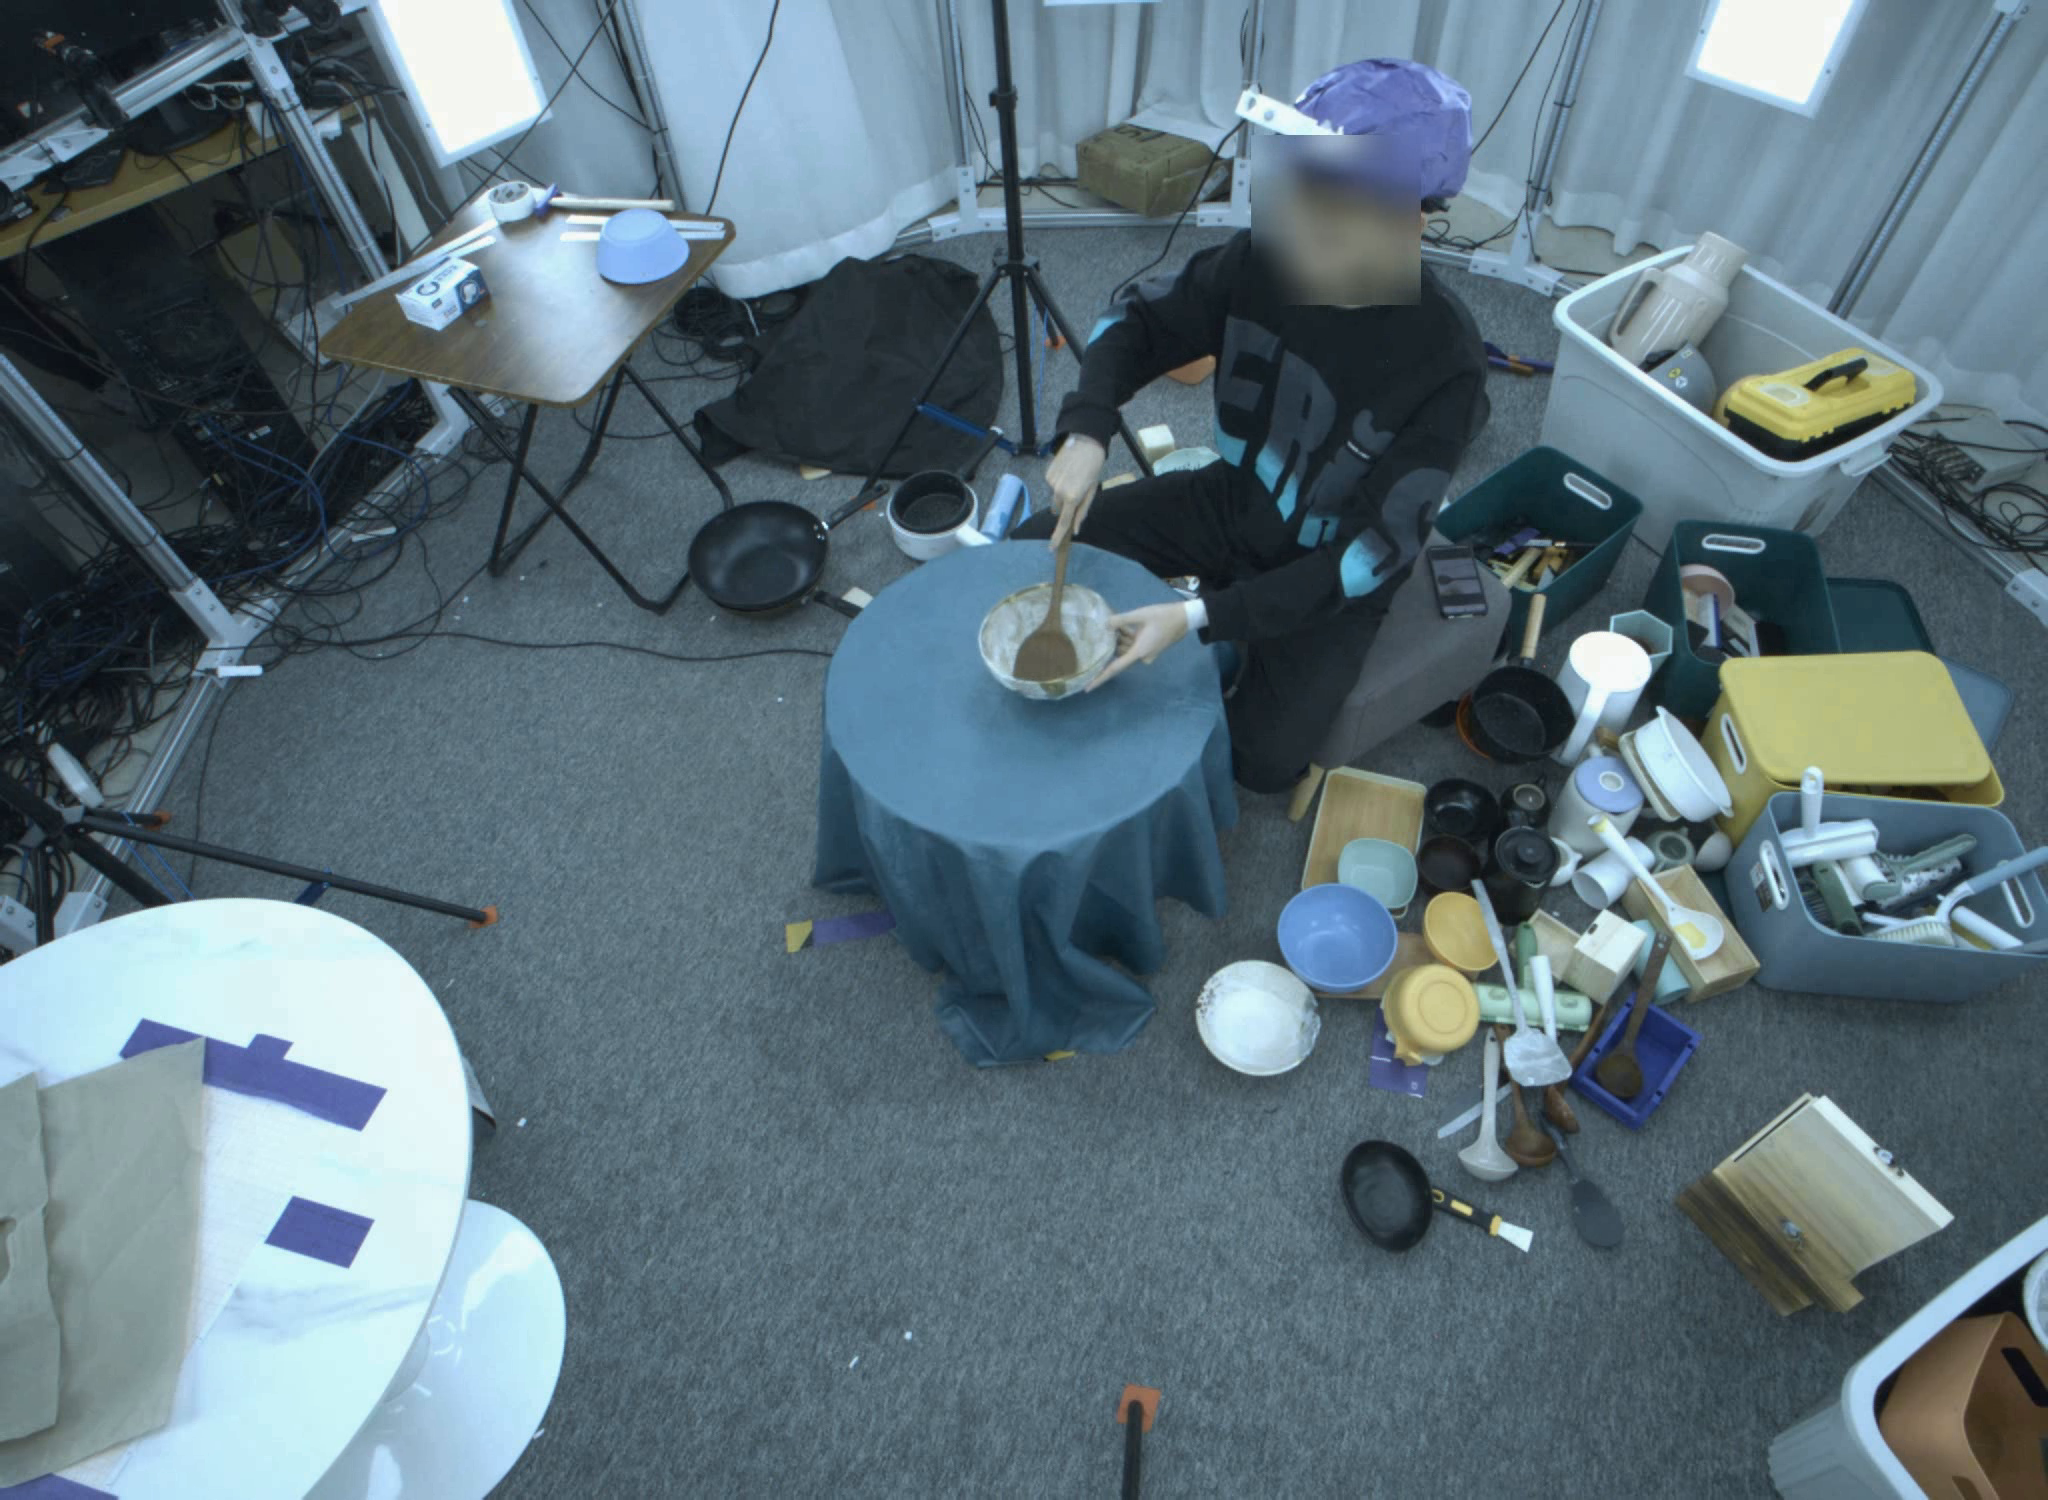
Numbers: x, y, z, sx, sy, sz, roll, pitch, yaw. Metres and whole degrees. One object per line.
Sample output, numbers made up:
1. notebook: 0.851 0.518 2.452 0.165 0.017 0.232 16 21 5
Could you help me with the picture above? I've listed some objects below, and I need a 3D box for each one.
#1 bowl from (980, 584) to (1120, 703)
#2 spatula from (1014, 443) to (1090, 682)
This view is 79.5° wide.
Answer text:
1. bowl: 0.045 -0.141 1.822 0.214 0.096 0.212 -4 52 6
2. spatula: 0.056 -0.272 1.825 0.096 0.016 0.386 8 91 4
